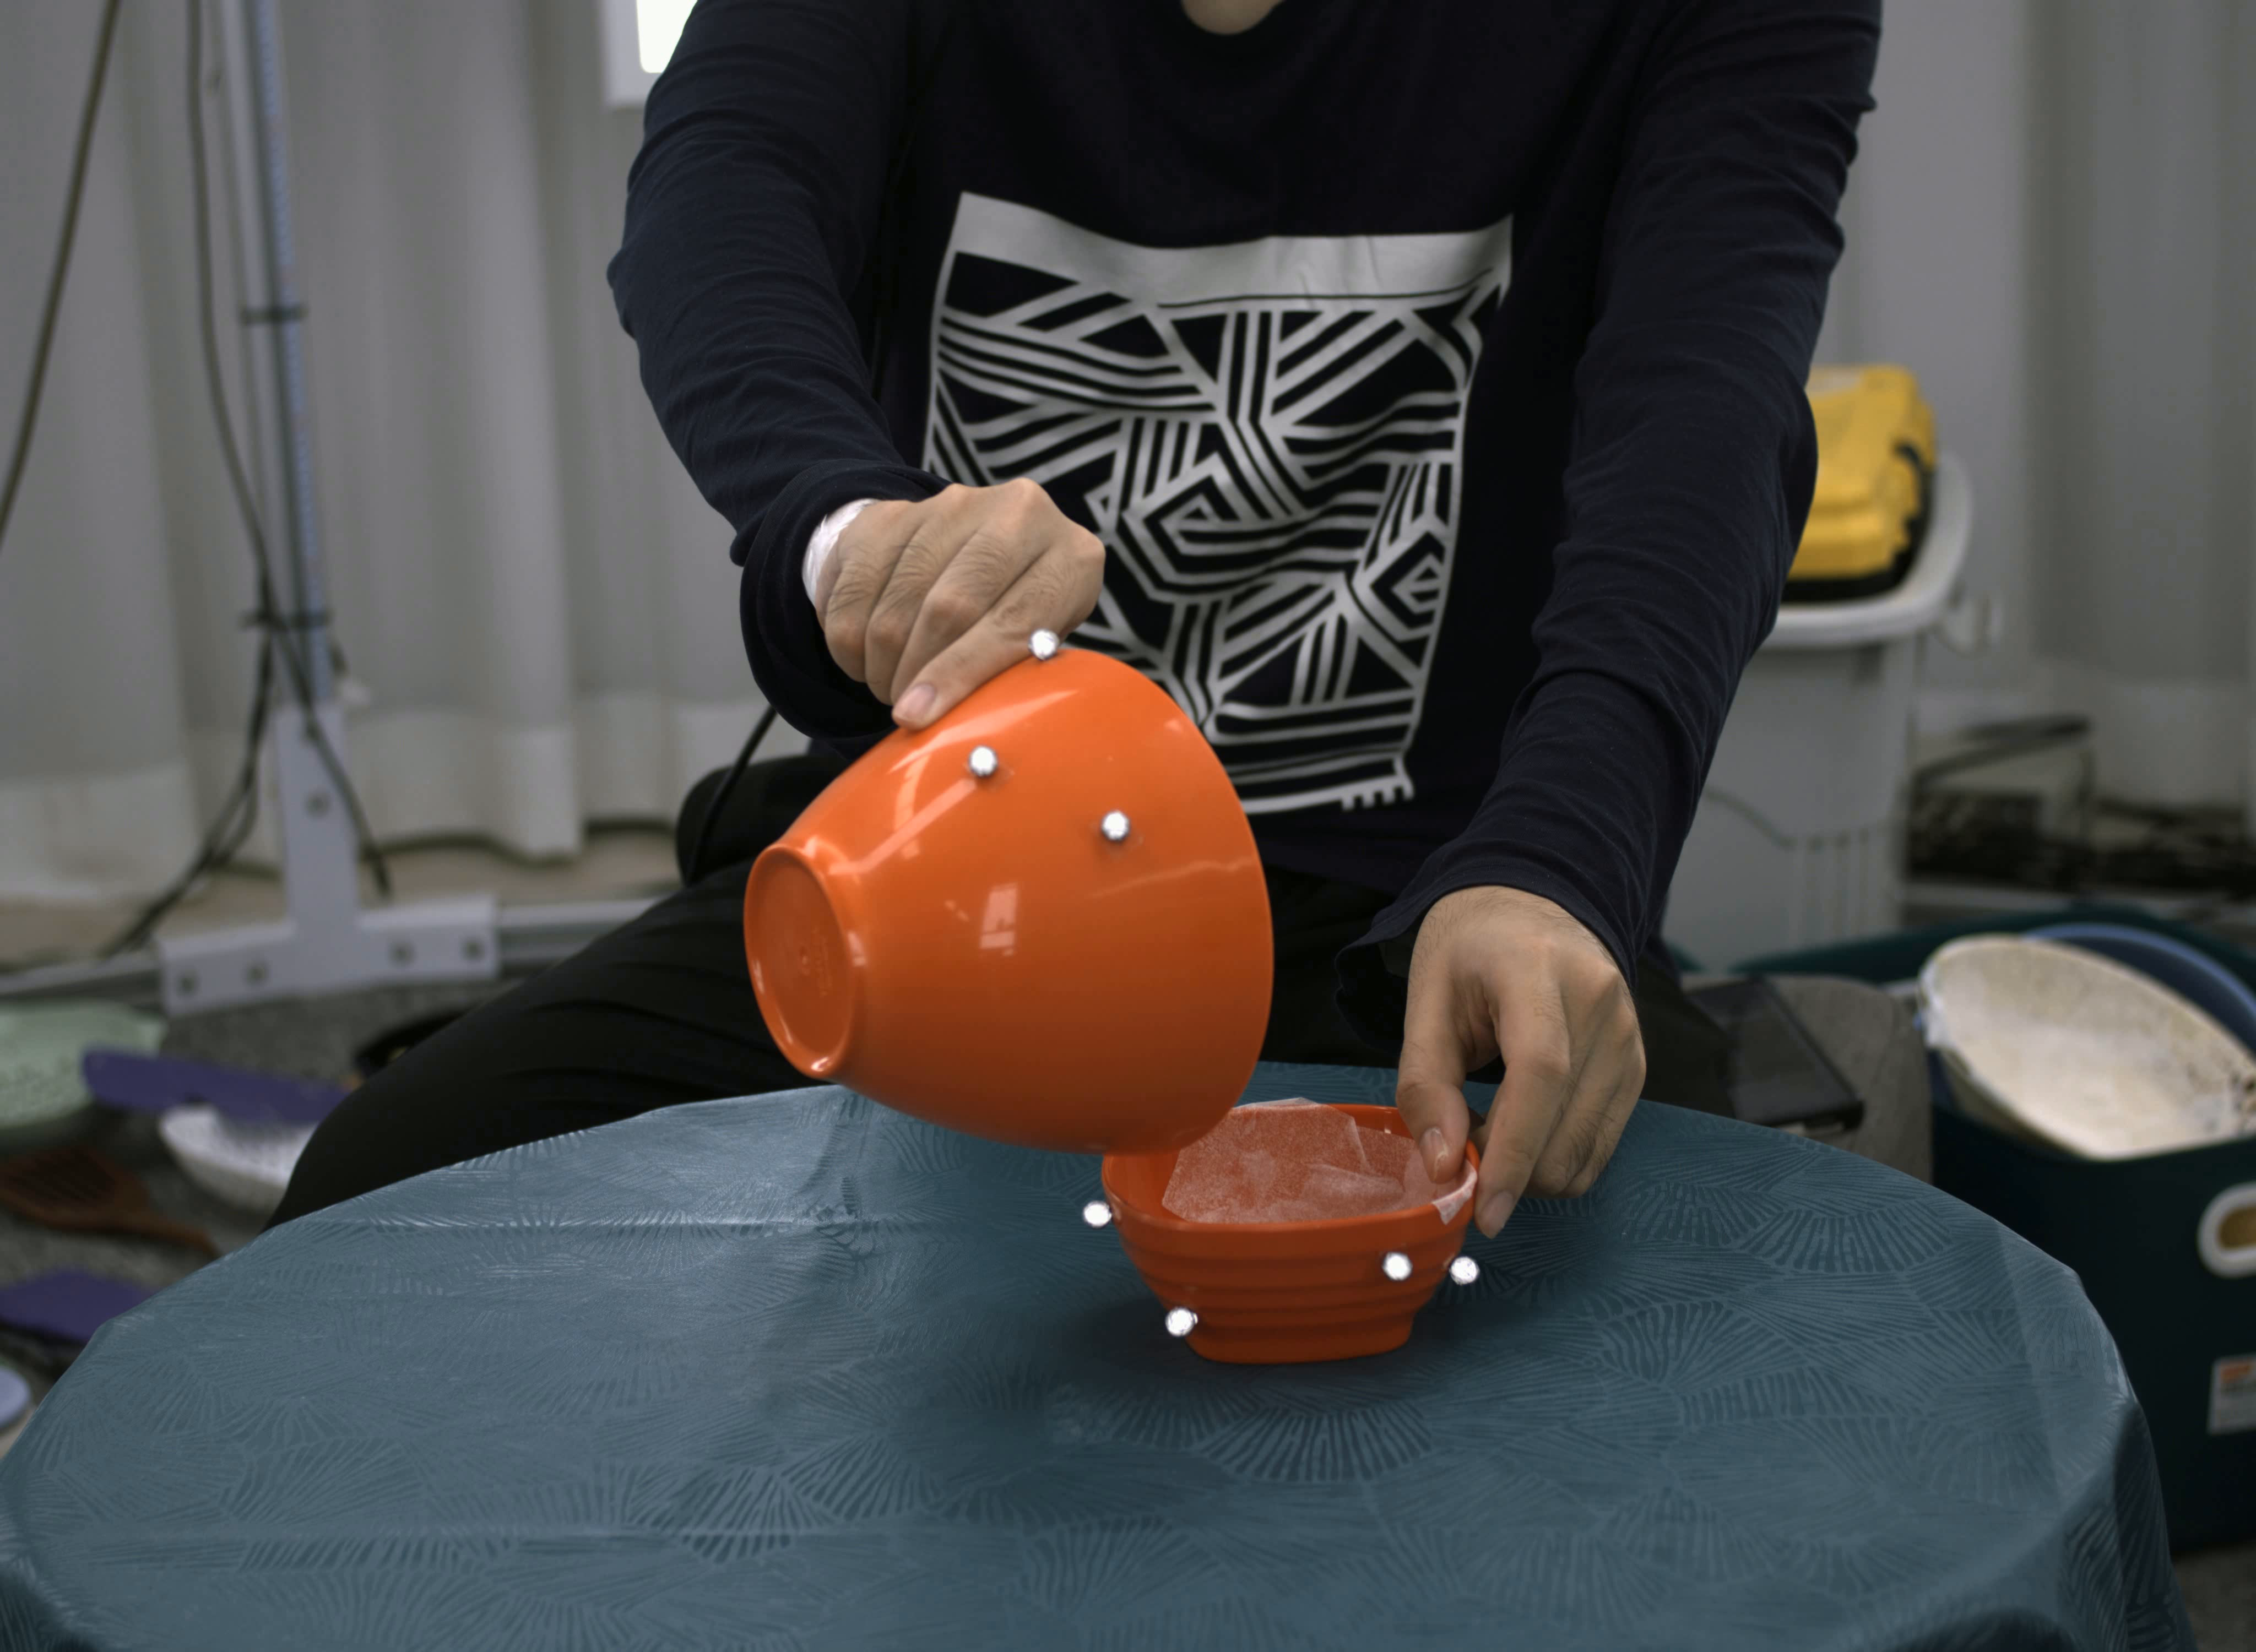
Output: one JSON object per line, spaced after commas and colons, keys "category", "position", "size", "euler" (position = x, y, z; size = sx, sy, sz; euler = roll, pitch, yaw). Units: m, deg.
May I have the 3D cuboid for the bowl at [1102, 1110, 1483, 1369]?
{"category": "bowl", "position": [0.049, 0.122, 1.588], "size": [0.118, 0.051, 0.119], "euler": [-4, 13, 1]}

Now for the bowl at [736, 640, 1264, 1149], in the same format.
{"category": "bowl", "position": [-0.045, 0.027, 1.534], "size": [0.104, 0.147, 0.149], "euler": [-12, 17, -29]}
